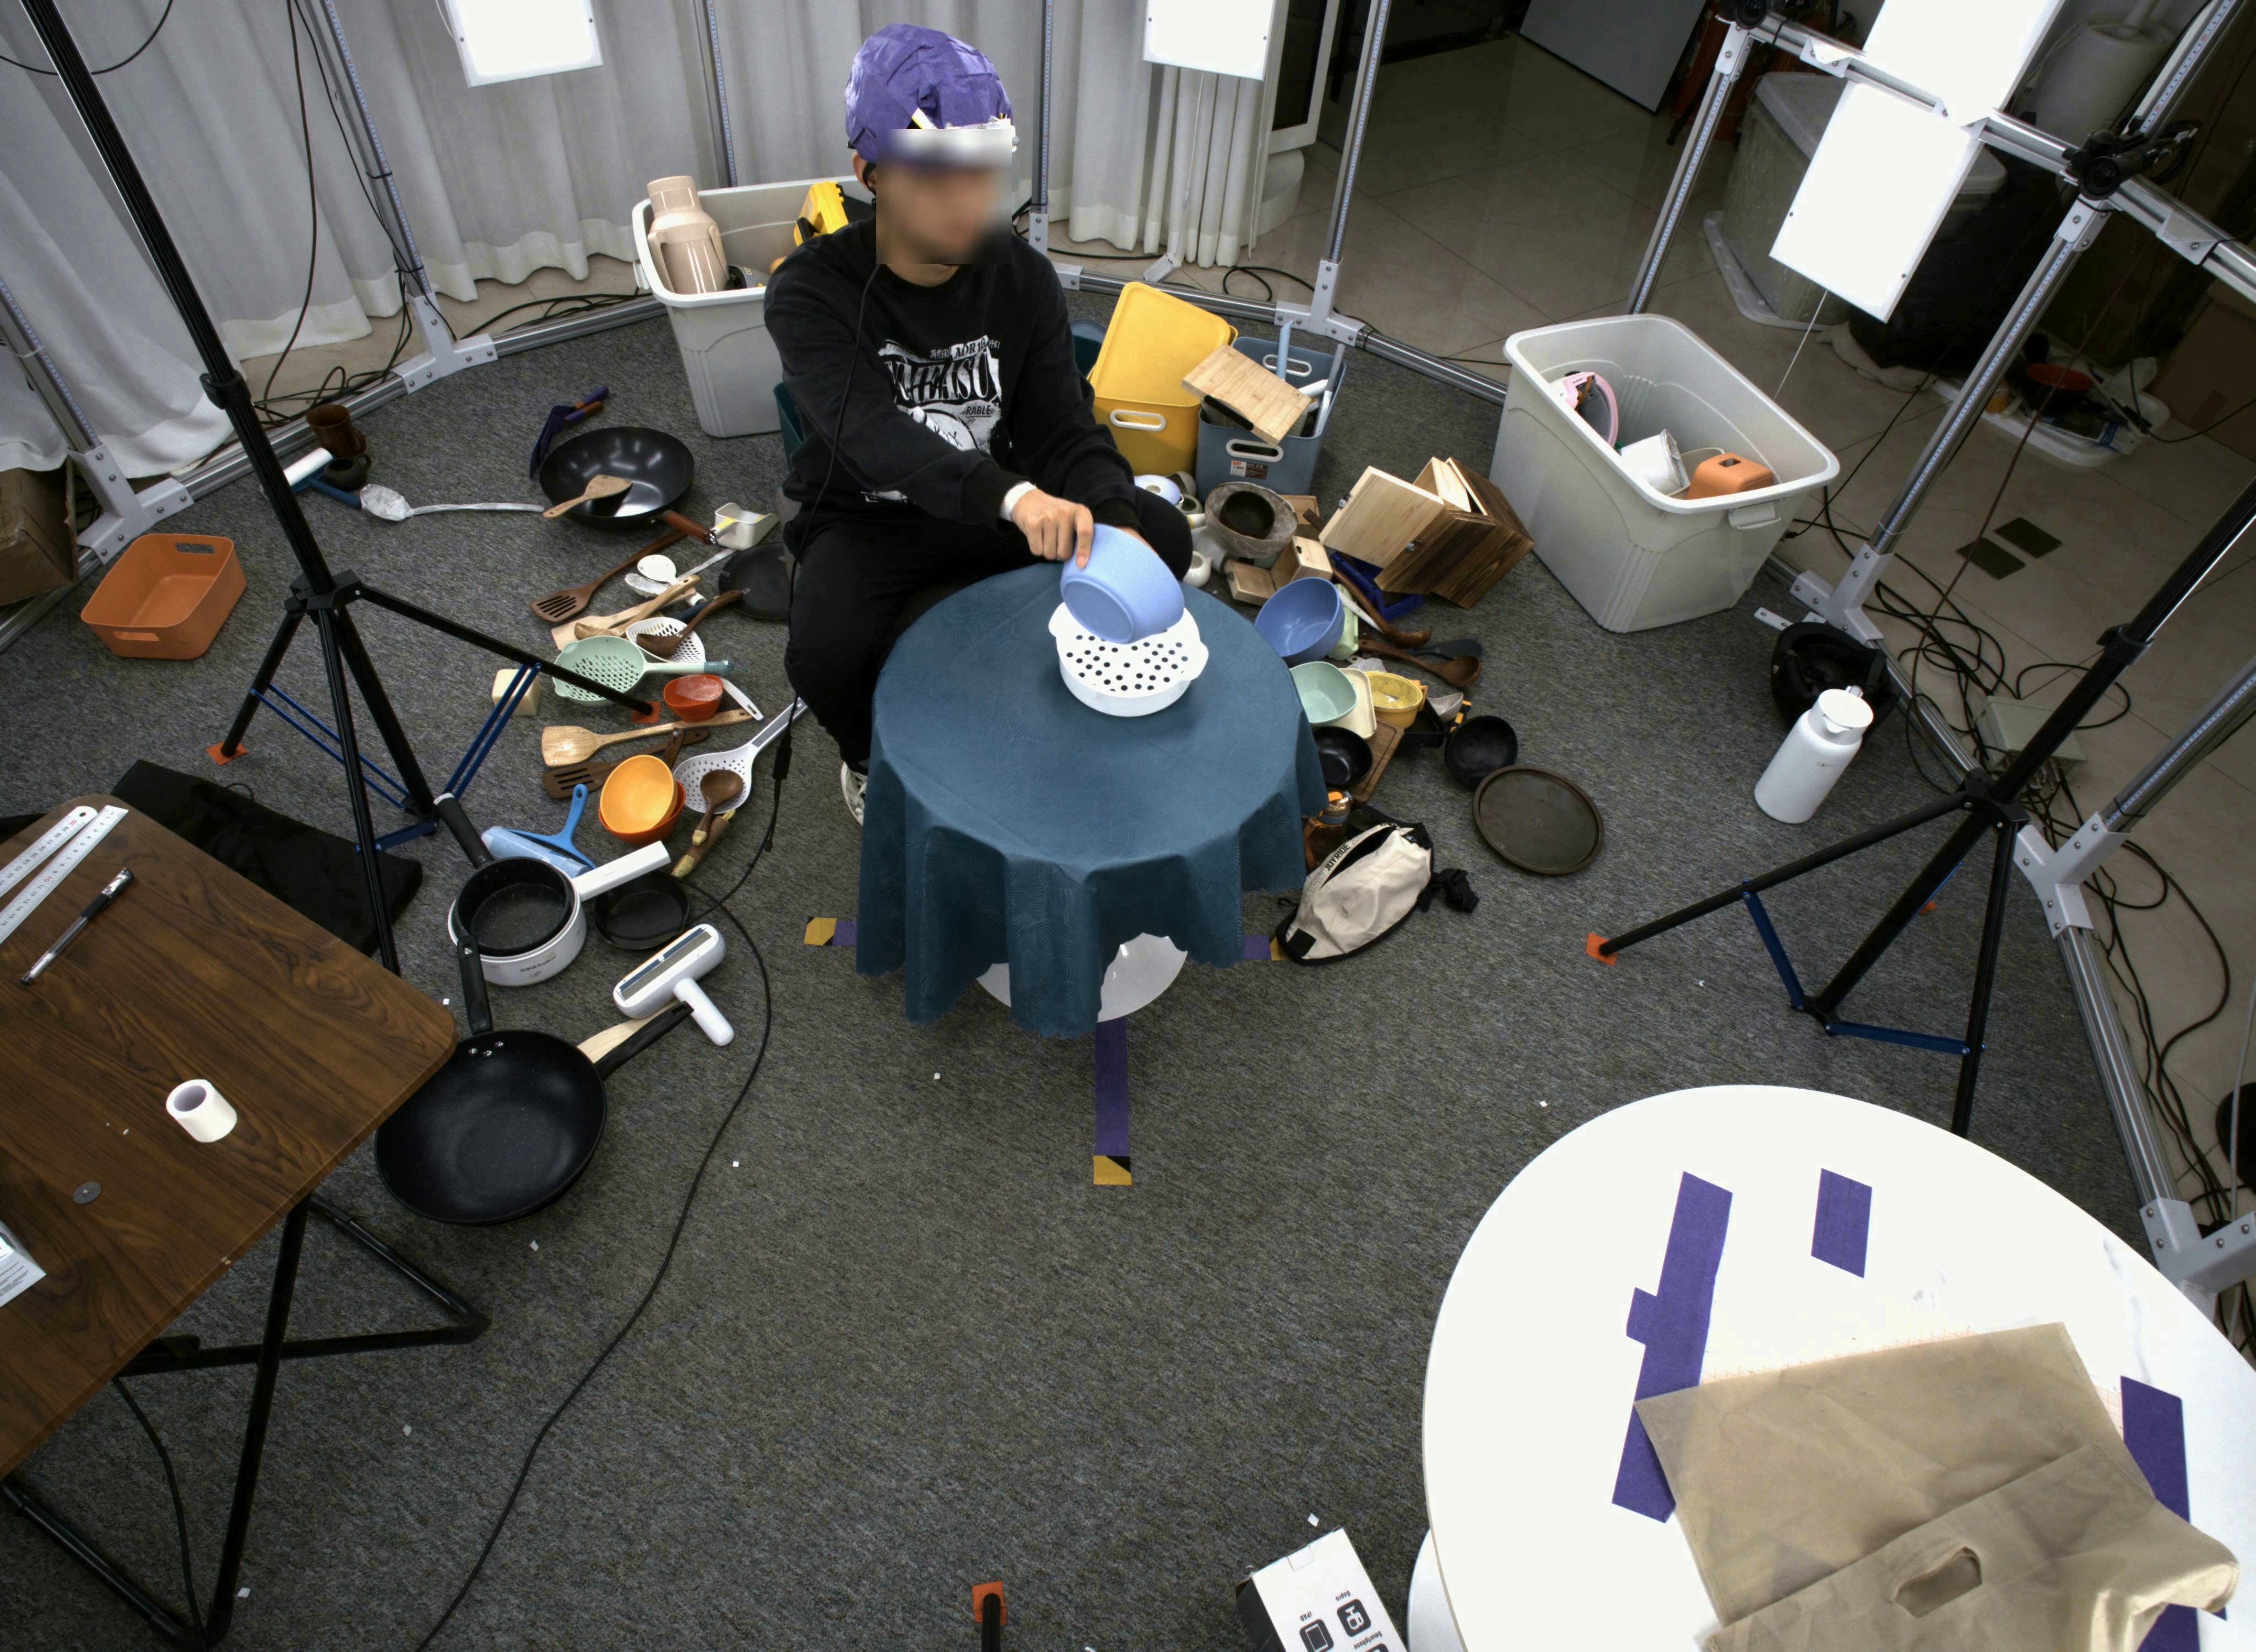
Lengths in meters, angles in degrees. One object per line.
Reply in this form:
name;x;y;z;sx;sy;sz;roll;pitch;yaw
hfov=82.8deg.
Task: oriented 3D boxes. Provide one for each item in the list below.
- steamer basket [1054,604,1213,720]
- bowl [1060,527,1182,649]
steamer basket;0.006;-0.246;1.843;0.231;0.068;0.205;20;59;9
bowl;-0.021;-0.291;1.643;0.178;0.172;0.071;30;66;20
